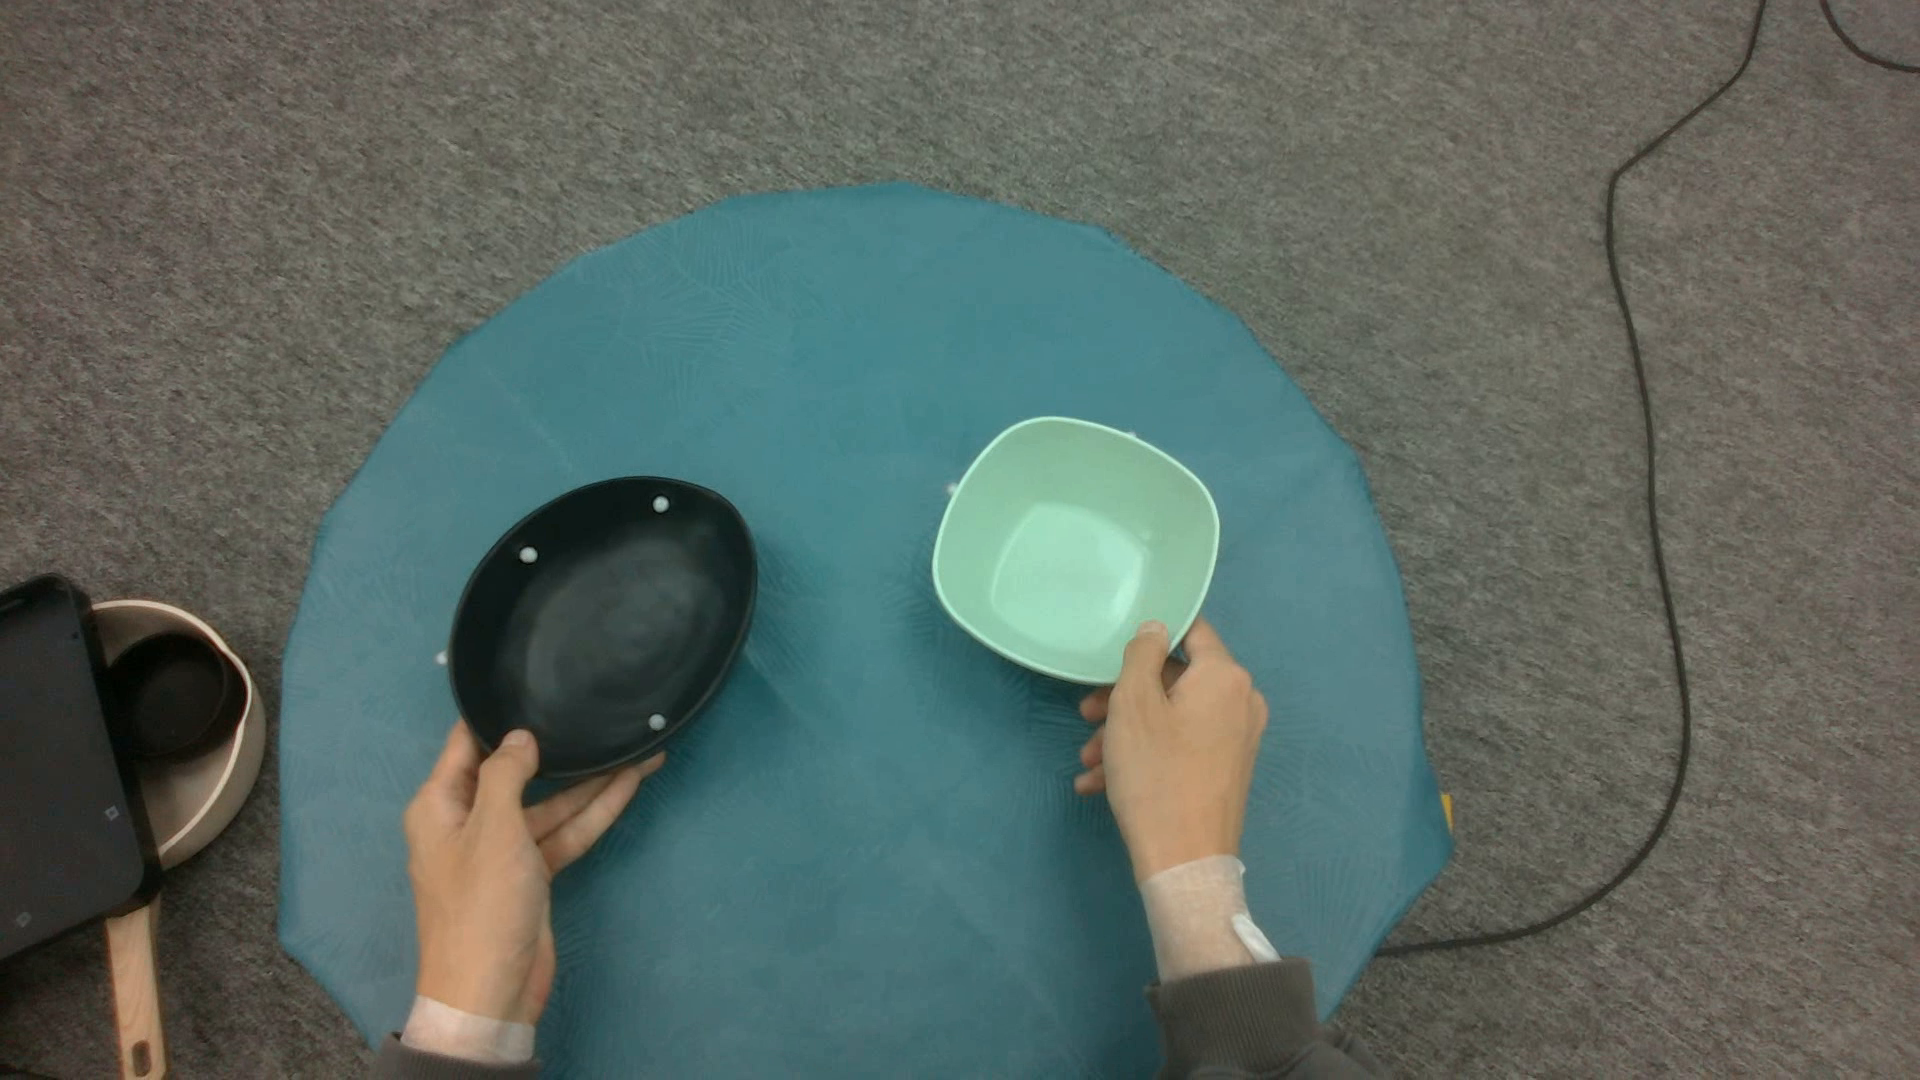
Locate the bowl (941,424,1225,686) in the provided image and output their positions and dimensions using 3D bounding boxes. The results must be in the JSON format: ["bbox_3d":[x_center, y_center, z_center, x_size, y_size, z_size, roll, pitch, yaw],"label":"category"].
[{"bbox_3d":[0.065,0.015,0.734,0.151,0.058,0.152,-1,66,2],"label":"bowl"}]

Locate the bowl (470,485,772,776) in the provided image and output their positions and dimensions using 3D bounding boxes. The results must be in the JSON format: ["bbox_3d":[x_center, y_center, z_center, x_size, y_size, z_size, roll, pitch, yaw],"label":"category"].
[{"bbox_3d":[-0.169,0.049,0.717,0.137,0.066,0.171,28,68,12],"label":"bowl"}]
